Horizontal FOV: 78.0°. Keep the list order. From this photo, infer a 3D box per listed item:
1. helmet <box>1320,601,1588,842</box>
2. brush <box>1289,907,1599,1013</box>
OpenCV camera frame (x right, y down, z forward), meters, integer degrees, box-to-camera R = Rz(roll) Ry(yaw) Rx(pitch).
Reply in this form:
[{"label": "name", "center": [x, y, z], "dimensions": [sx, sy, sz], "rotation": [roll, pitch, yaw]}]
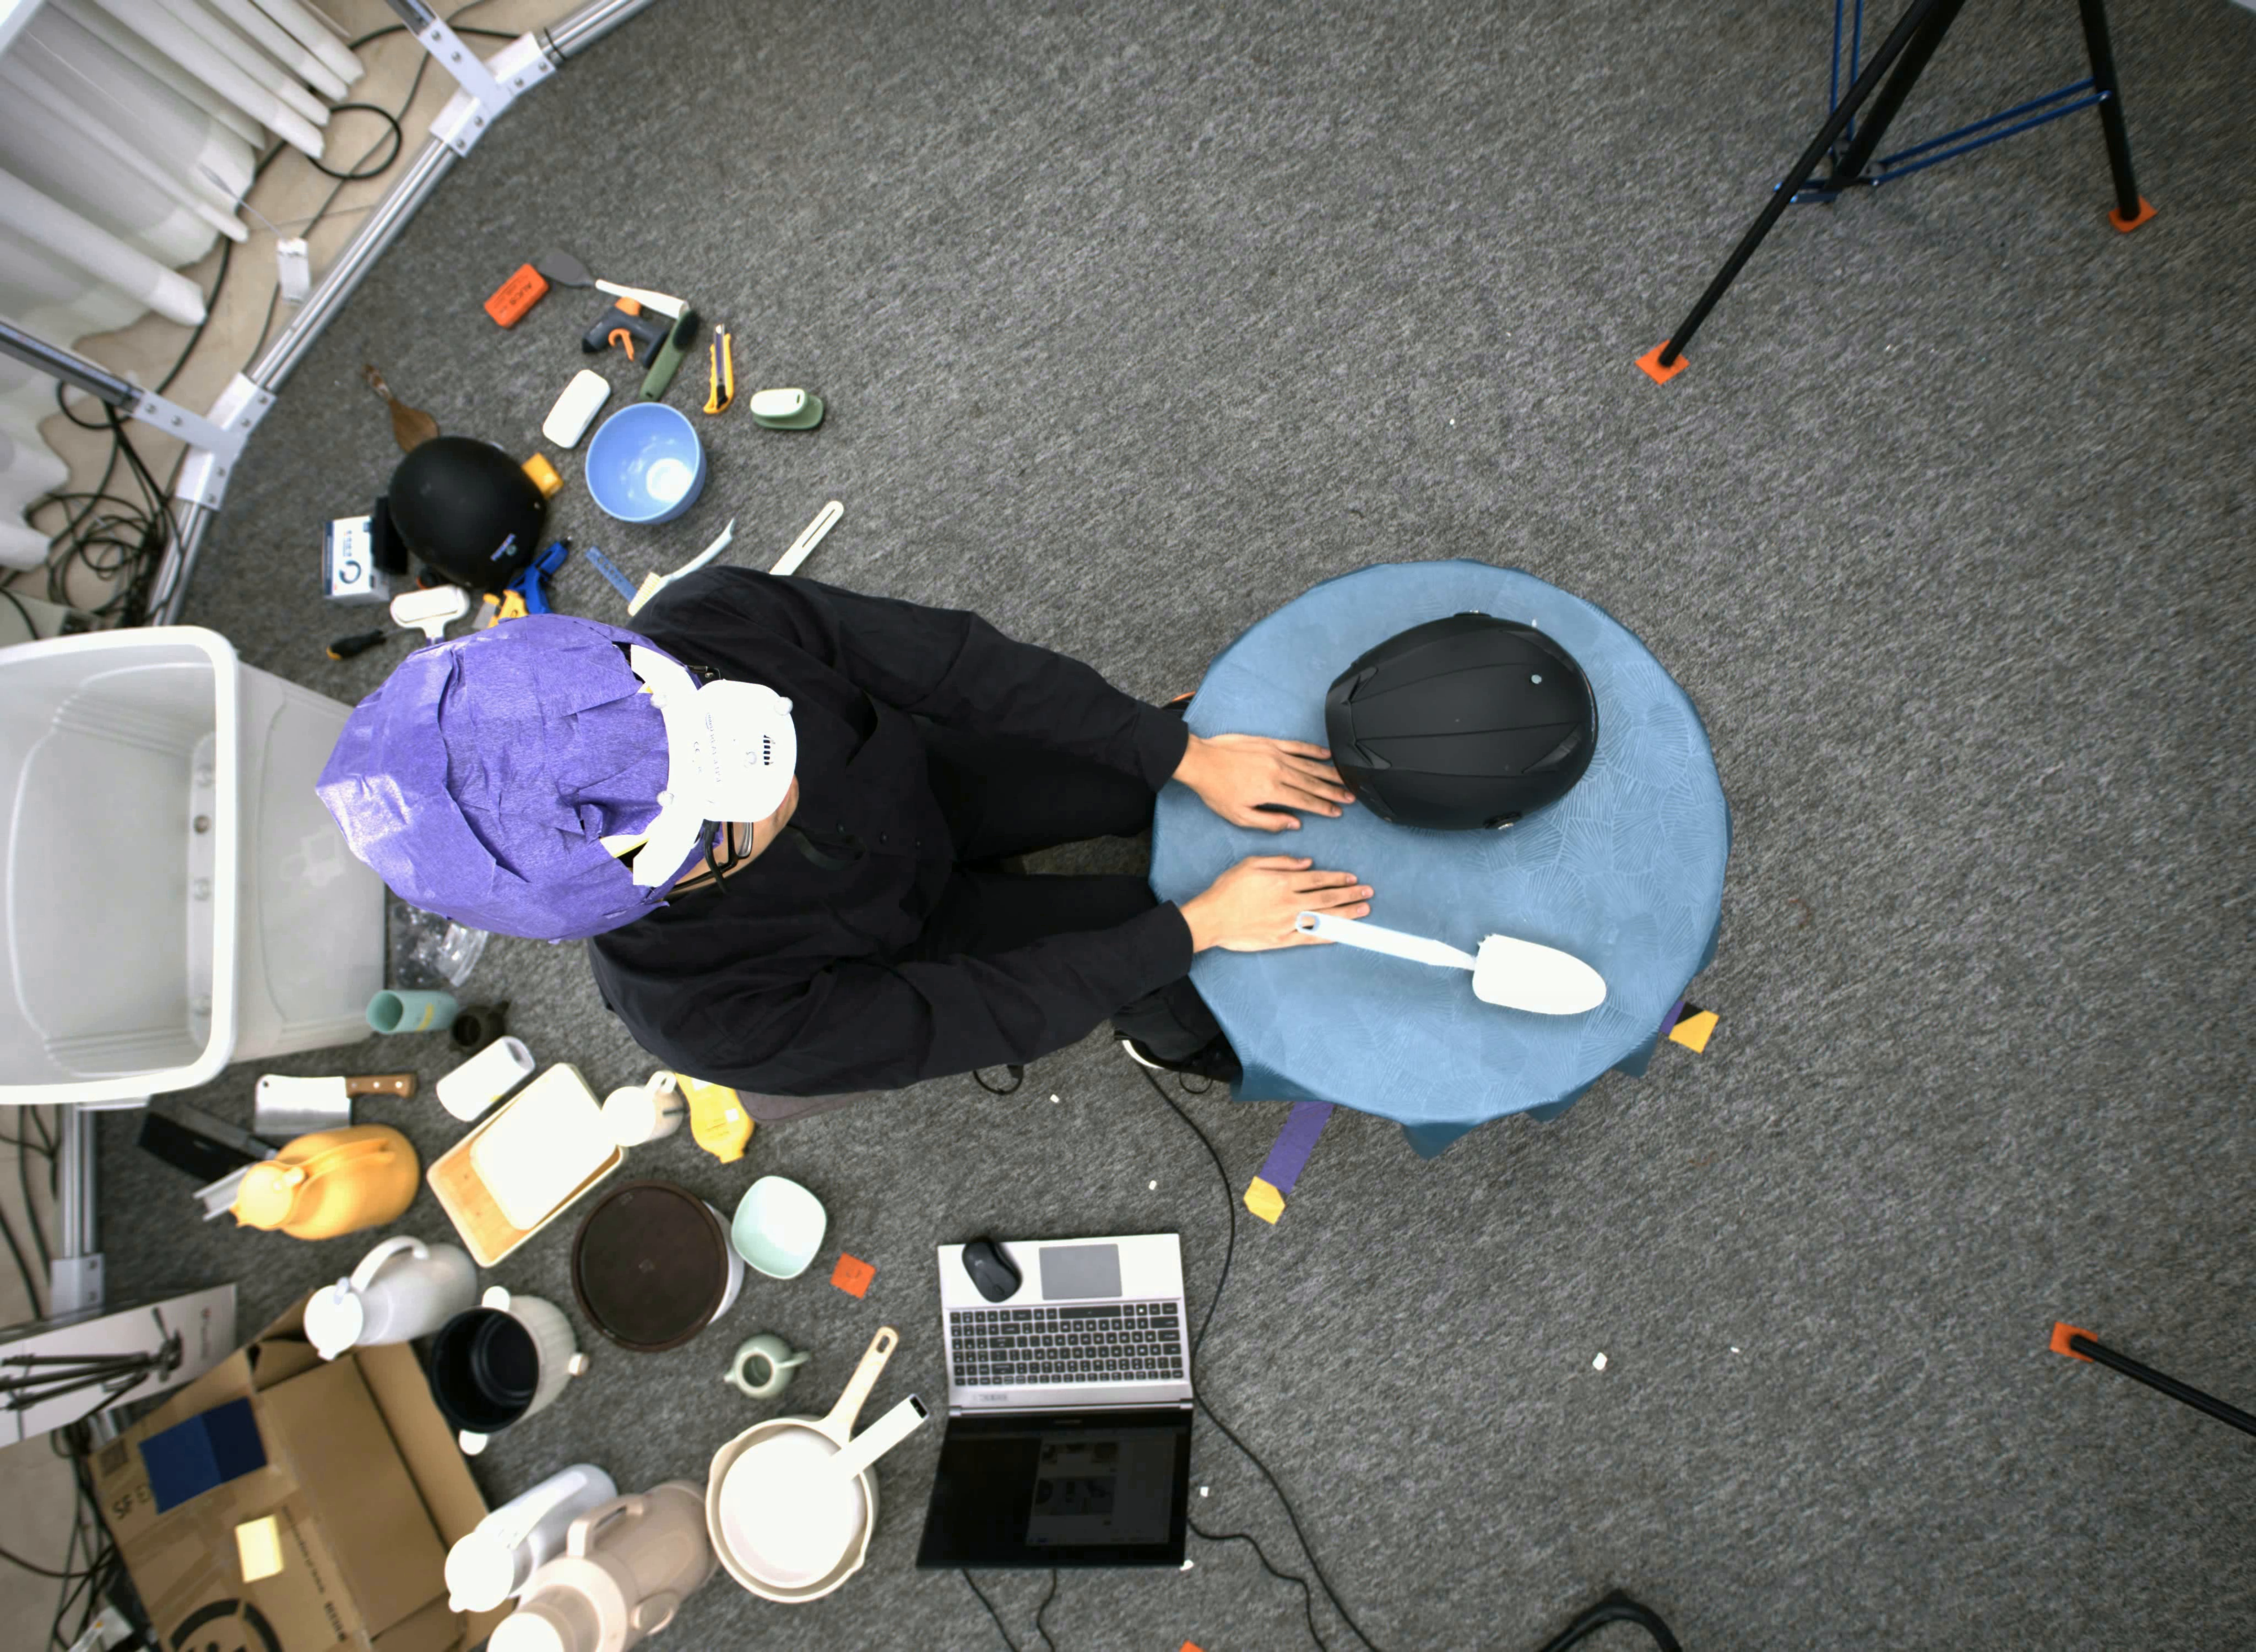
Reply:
[{"label": "helmet", "center": [0.331, -0.114, 1.374], "dimensions": [0.278, 0.172, 0.245], "rotation": [-6, 86, 7]}, {"label": "brush", "center": [0.318, 0.125, 1.404], "dimensions": [0.326, 0.087, 0.081], "rotation": [14, 51, -1]}]
